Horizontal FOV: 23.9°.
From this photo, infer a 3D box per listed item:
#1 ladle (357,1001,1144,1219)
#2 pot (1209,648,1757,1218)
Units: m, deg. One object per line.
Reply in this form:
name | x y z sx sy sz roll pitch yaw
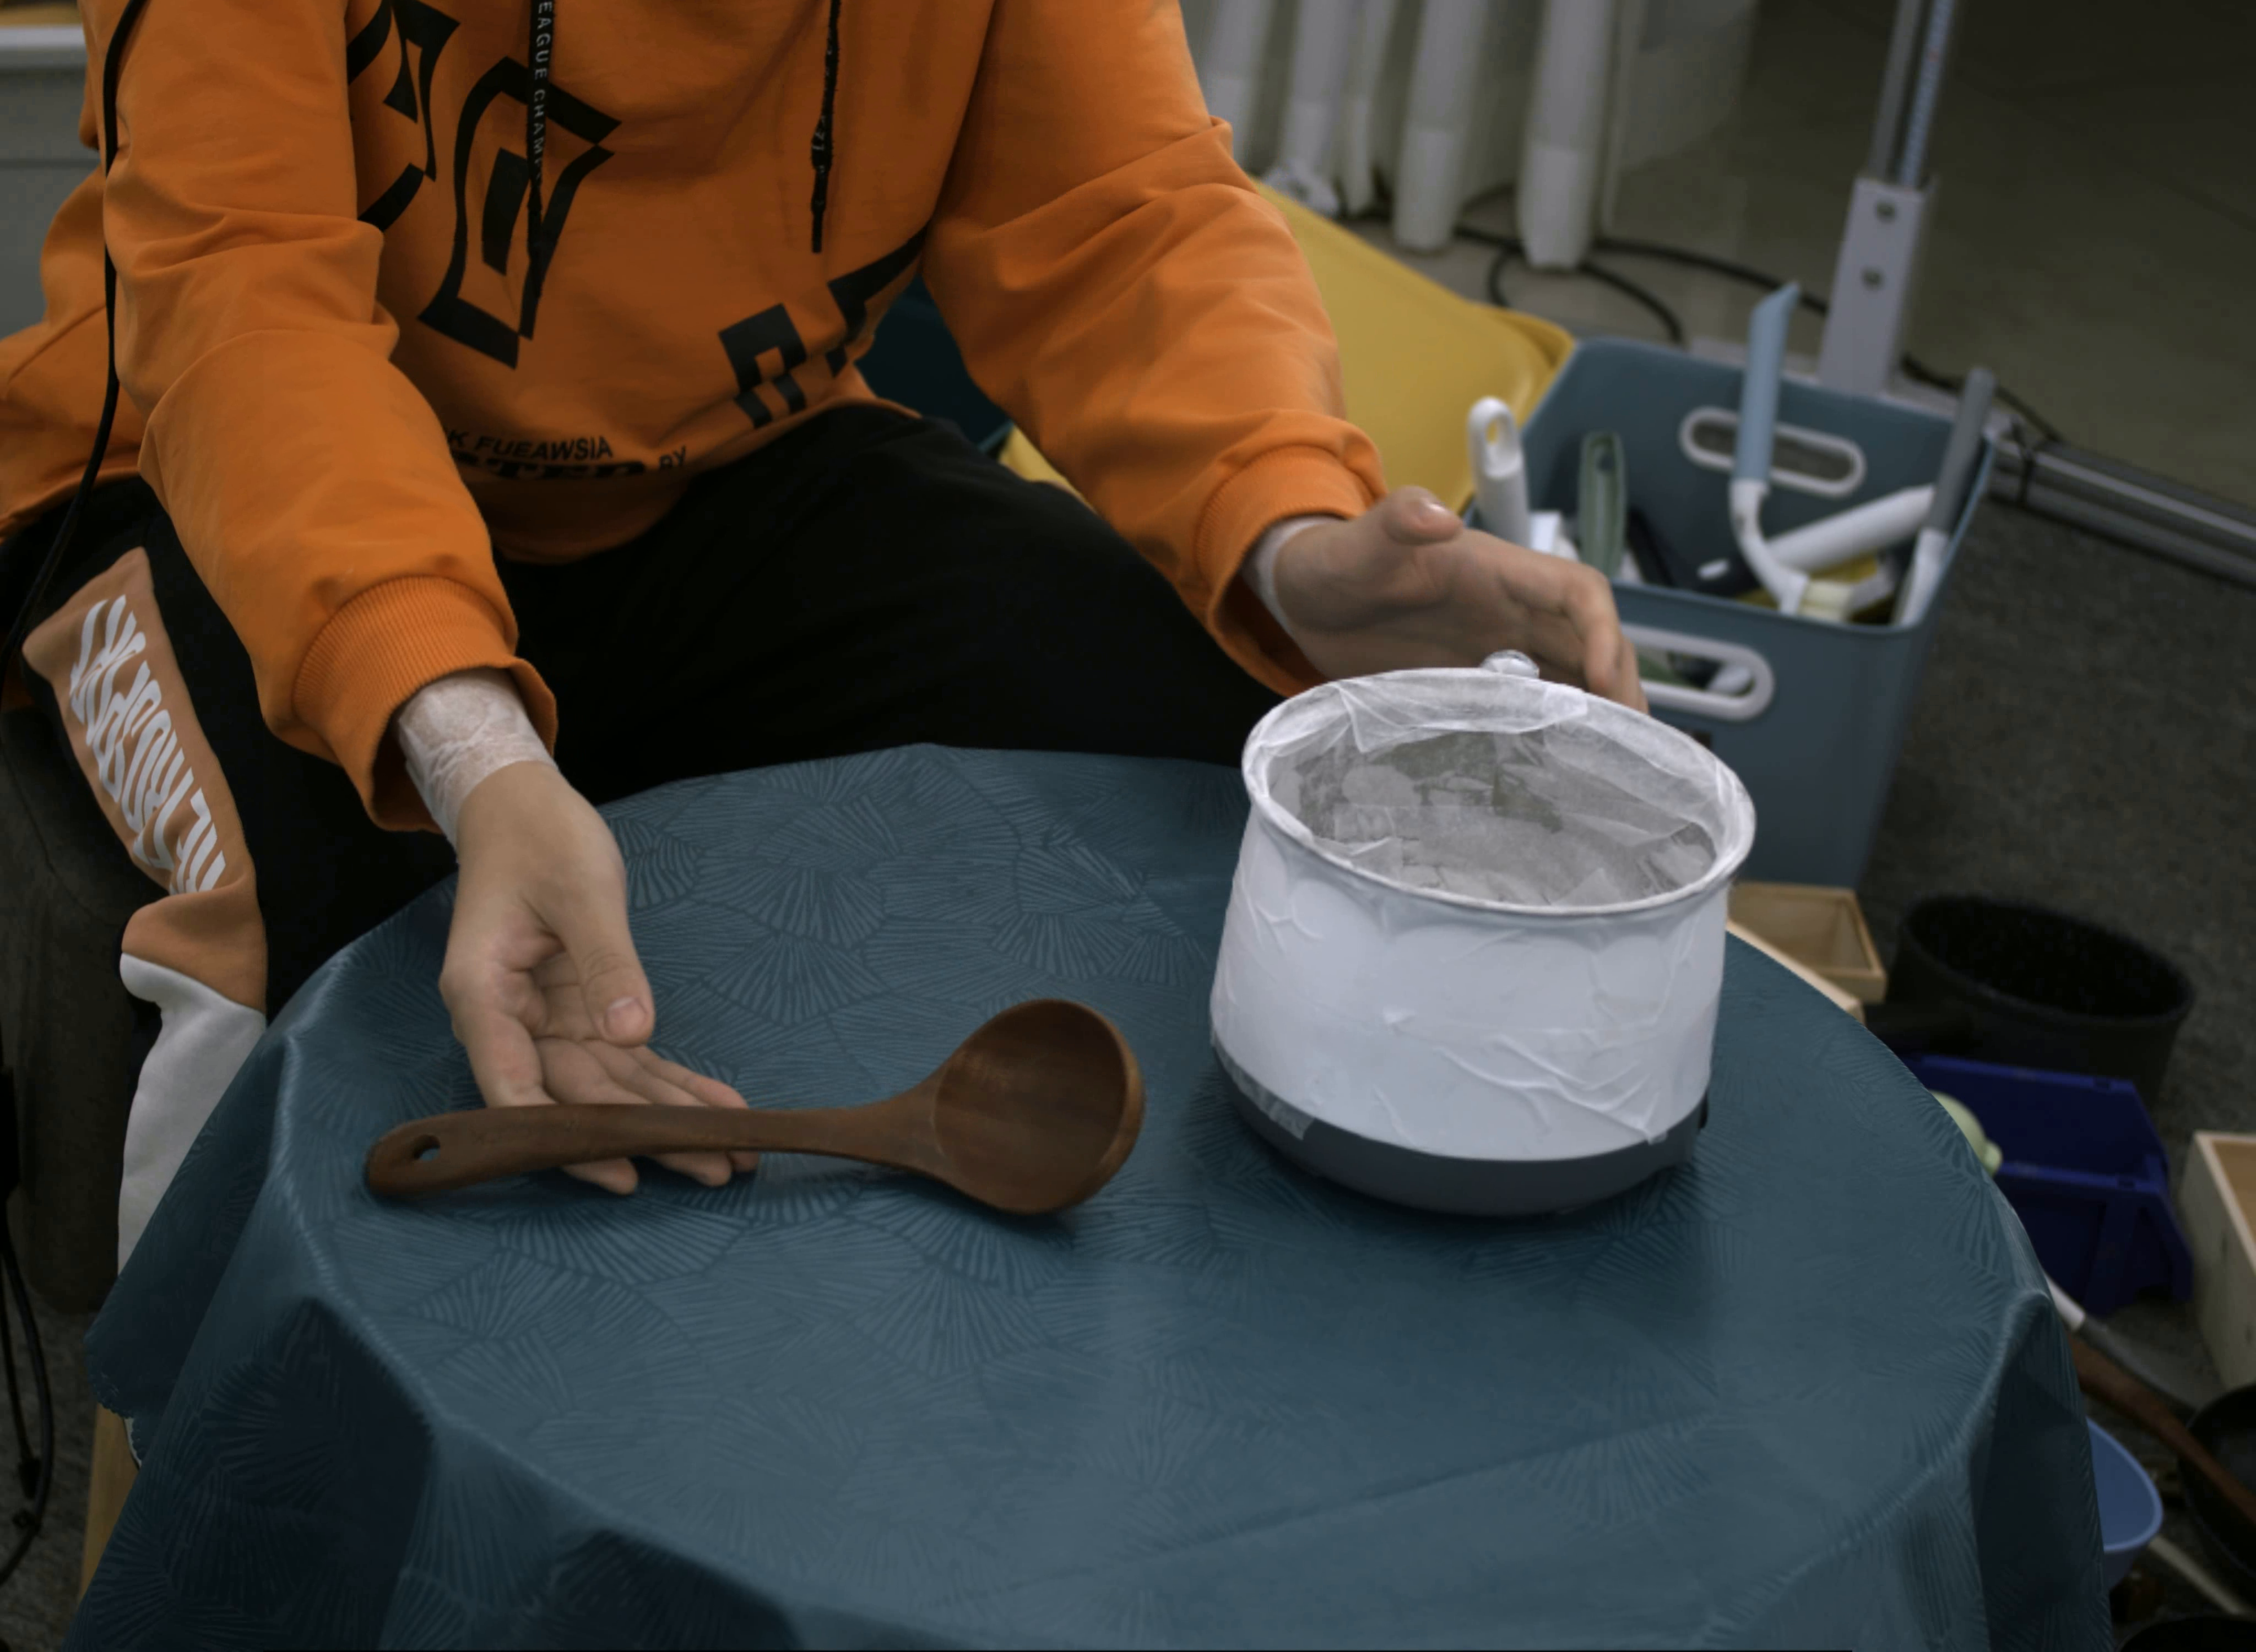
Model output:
ladle | -0.123 0.097 1.761 0.259 0.065 0.077 0 56 -15
pot | 0.122 0.030 1.863 0.178 0.136 0.235 8 27 1
